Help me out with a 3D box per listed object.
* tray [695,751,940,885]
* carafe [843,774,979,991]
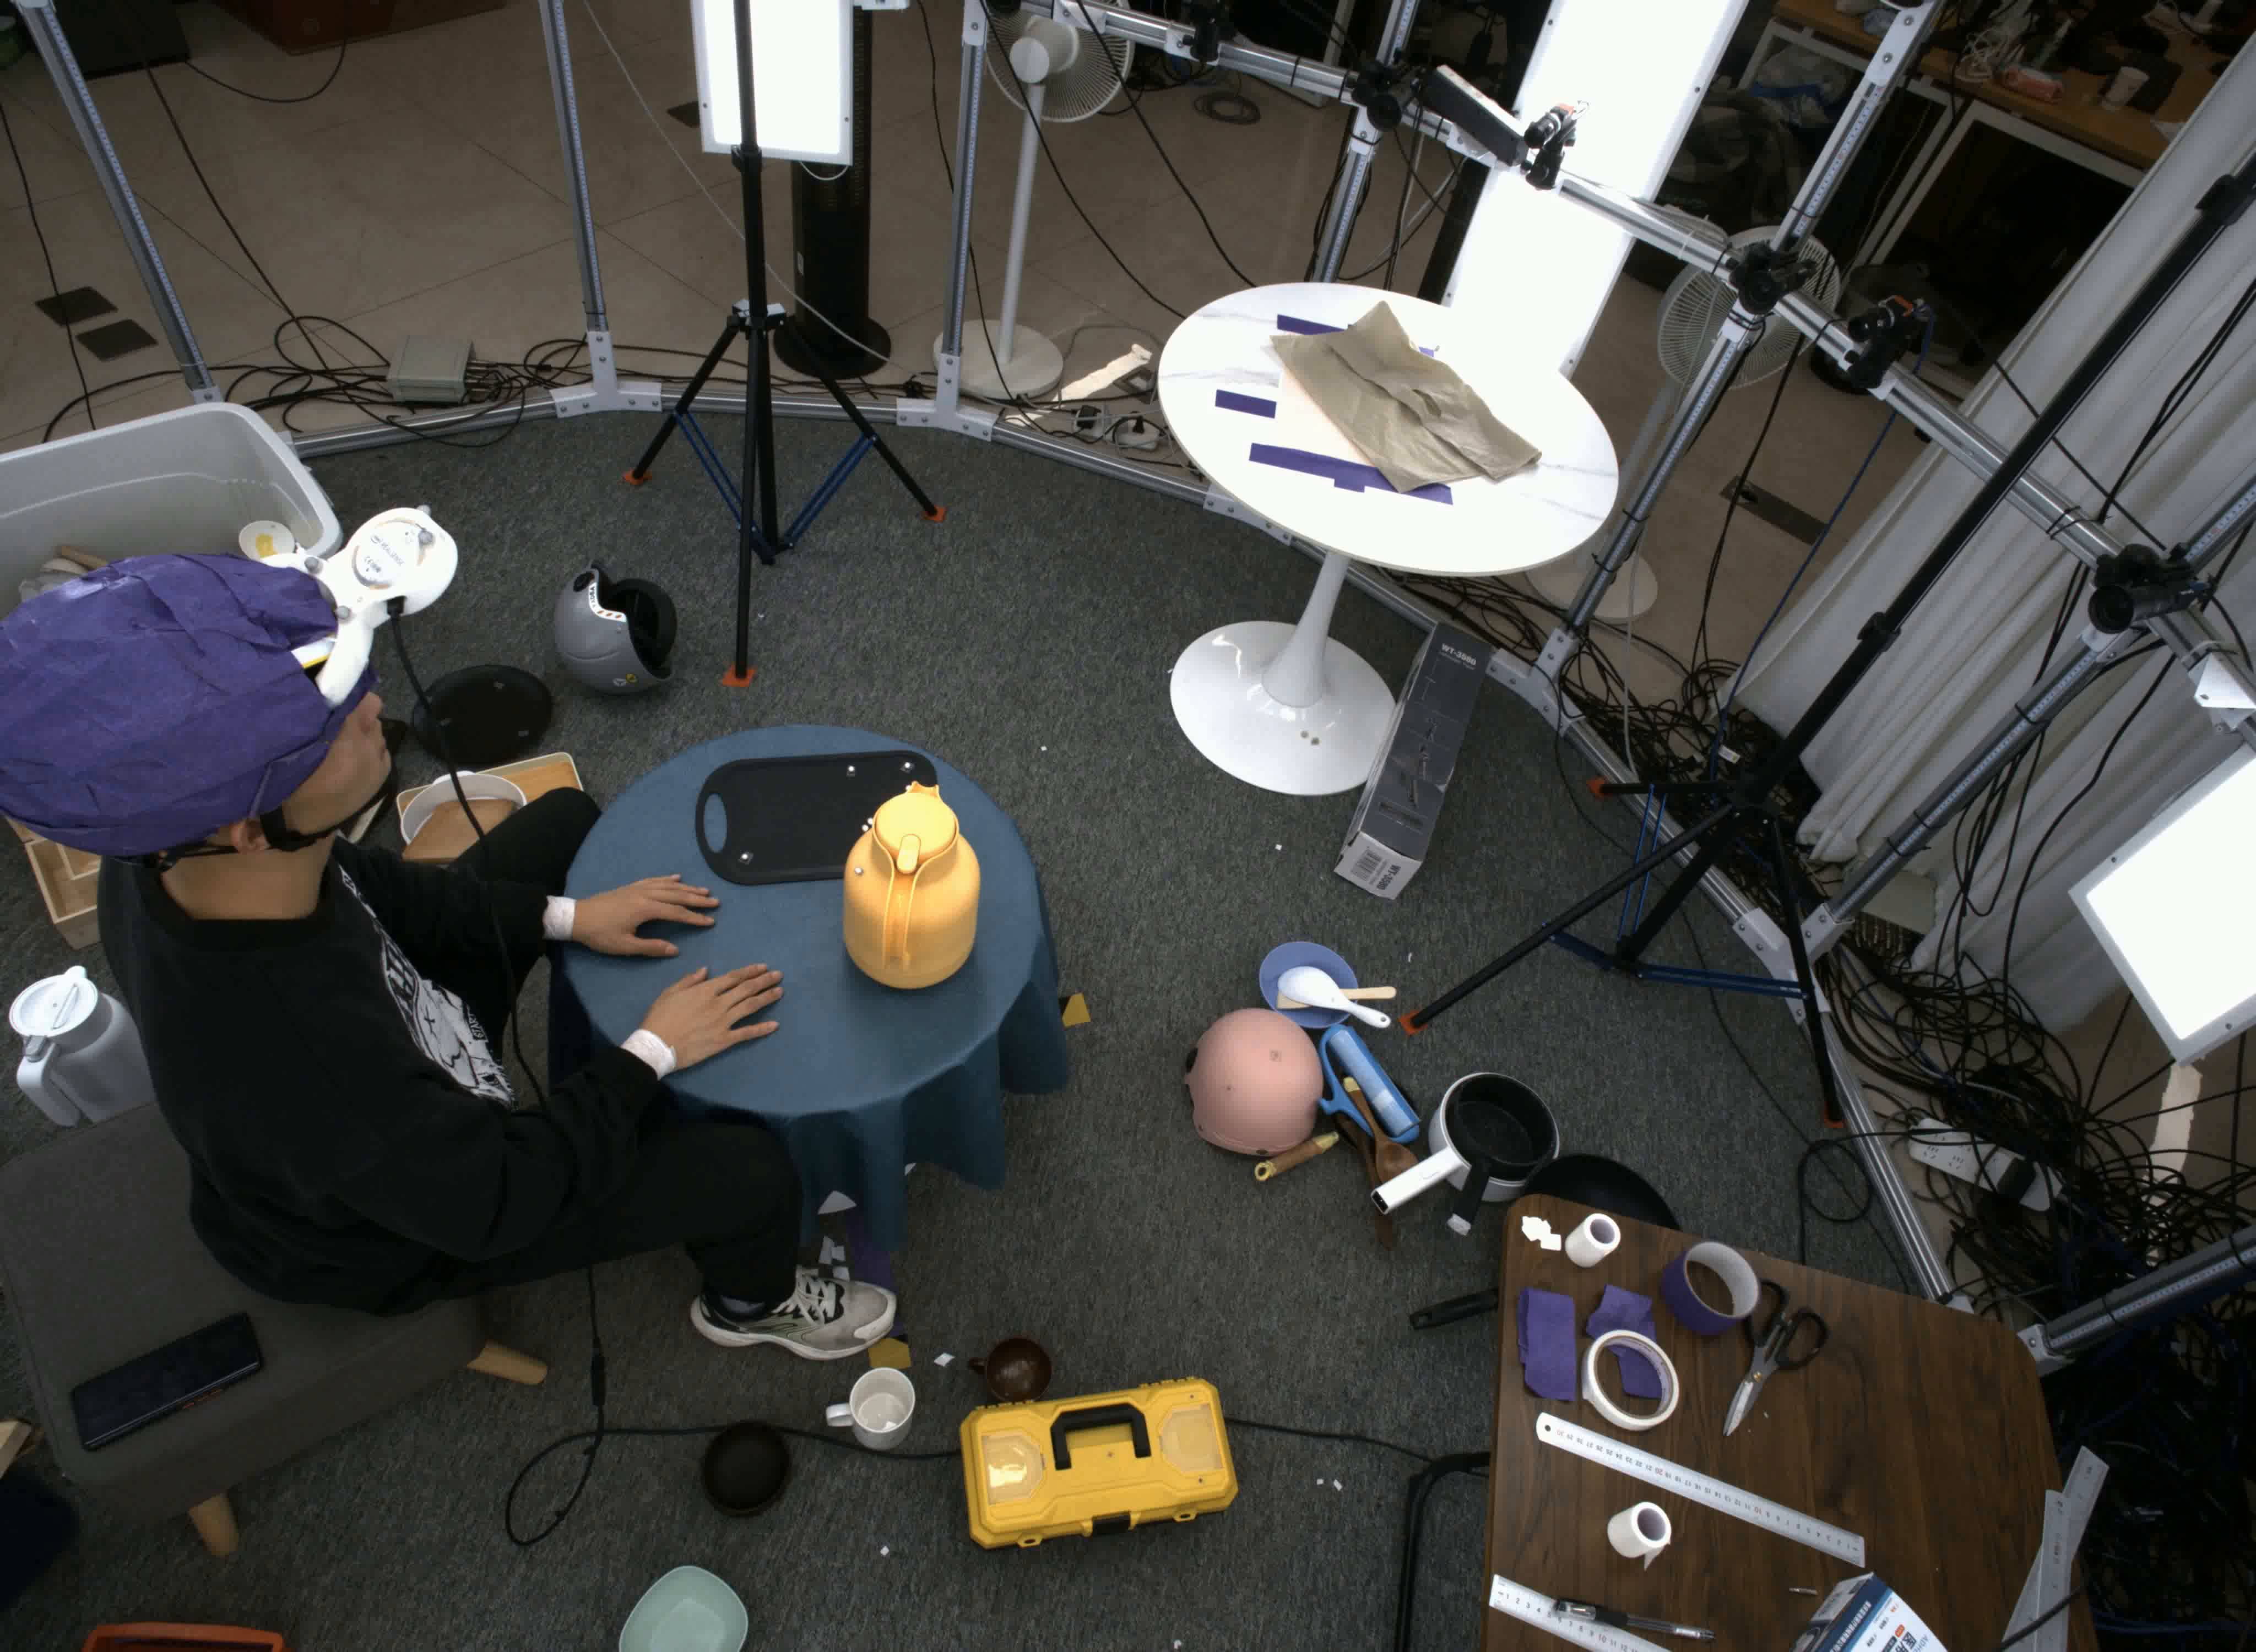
[{"bbox_3d":[-0.411,-0.016,1.733,0.326,0.010,0.206,-4,55,-17],"label":"tray"},{"bbox_3d":[-0.261,0.081,1.533,0.162,0.267,0.199,10,49,-1],"label":"carafe"}]
